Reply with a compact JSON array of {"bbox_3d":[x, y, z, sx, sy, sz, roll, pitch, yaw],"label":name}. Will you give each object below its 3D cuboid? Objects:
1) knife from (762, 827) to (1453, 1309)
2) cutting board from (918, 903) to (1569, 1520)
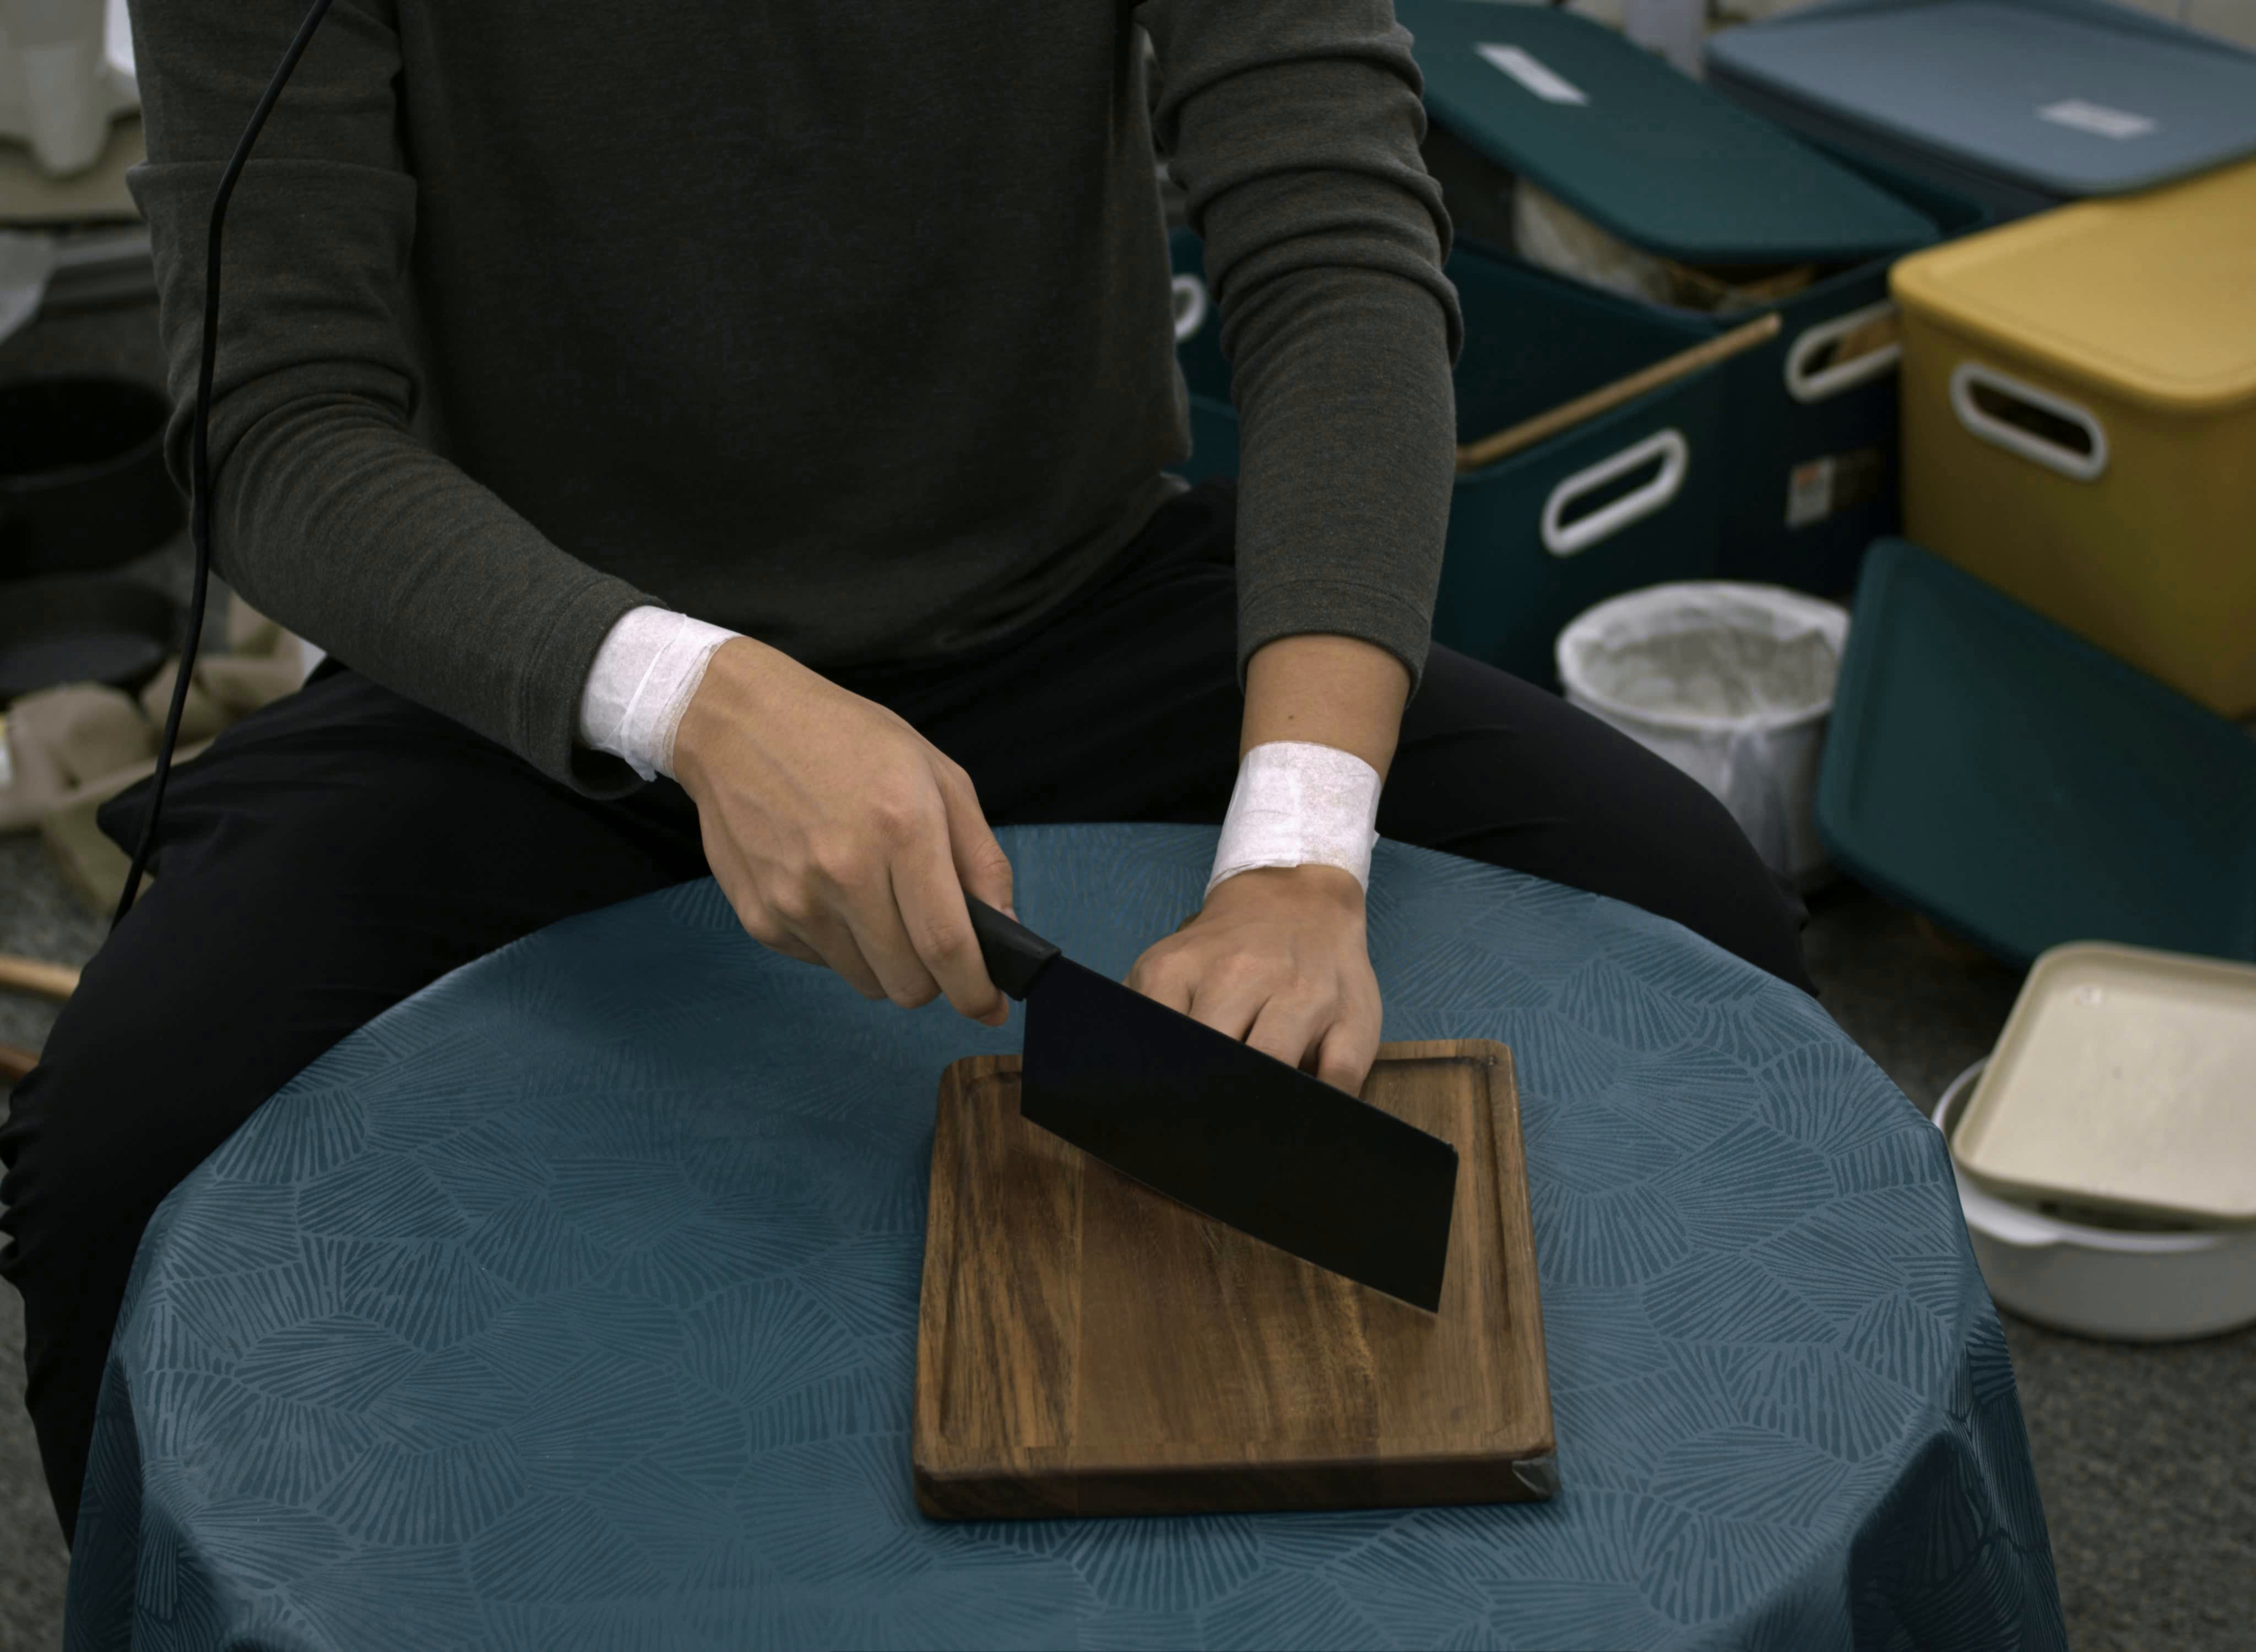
[{"bbox_3d":[-0.010,0.073,1.830,0.302,0.080,0.021,29,33,34],"label":"knife"},{"bbox_3d":[0.033,0.117,1.843,0.200,0.023,0.357,-2,27,1],"label":"cutting board"}]
